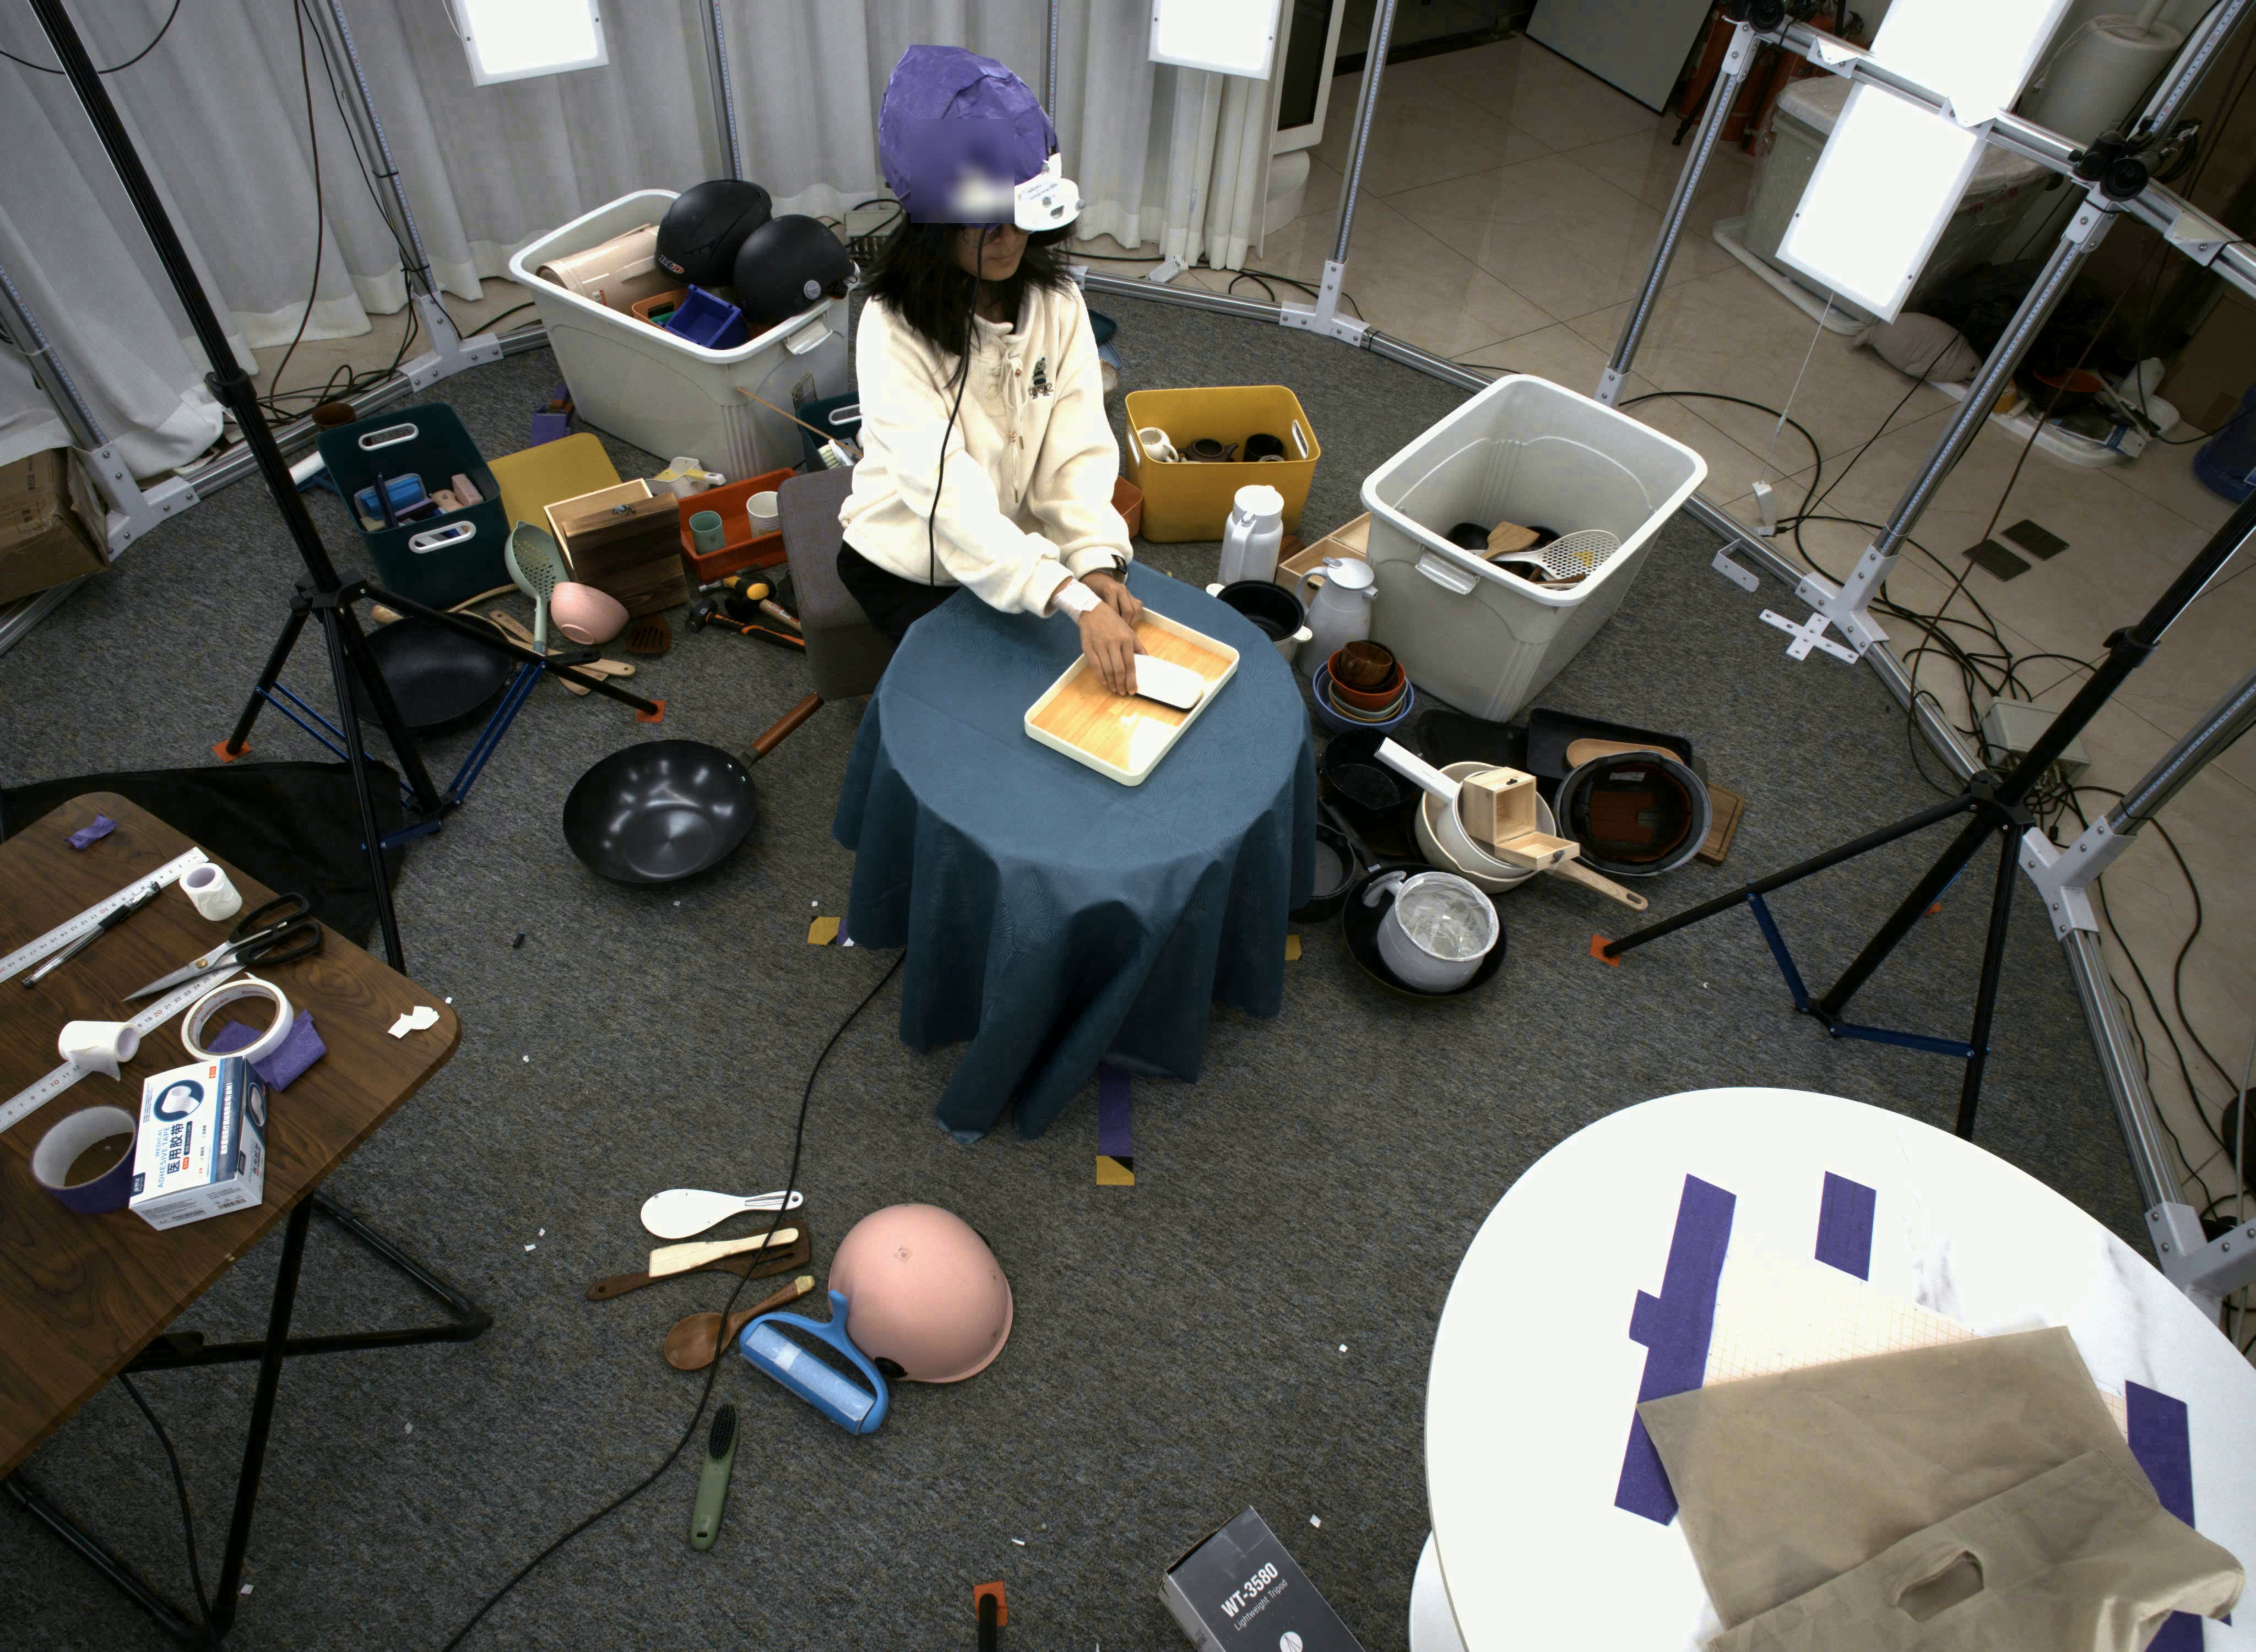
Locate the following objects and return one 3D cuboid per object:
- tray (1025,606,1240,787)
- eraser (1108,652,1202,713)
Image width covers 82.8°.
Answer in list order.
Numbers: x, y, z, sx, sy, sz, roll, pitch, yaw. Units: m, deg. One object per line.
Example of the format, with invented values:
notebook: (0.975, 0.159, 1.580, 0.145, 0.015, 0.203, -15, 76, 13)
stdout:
tray: (0.010, -0.190, 1.818, 0.193, 0.027, 0.305, 27, 53, 18)
eraser: (0.039, -0.207, 1.825, 0.132, 0.034, 0.064, 21, 51, 14)
